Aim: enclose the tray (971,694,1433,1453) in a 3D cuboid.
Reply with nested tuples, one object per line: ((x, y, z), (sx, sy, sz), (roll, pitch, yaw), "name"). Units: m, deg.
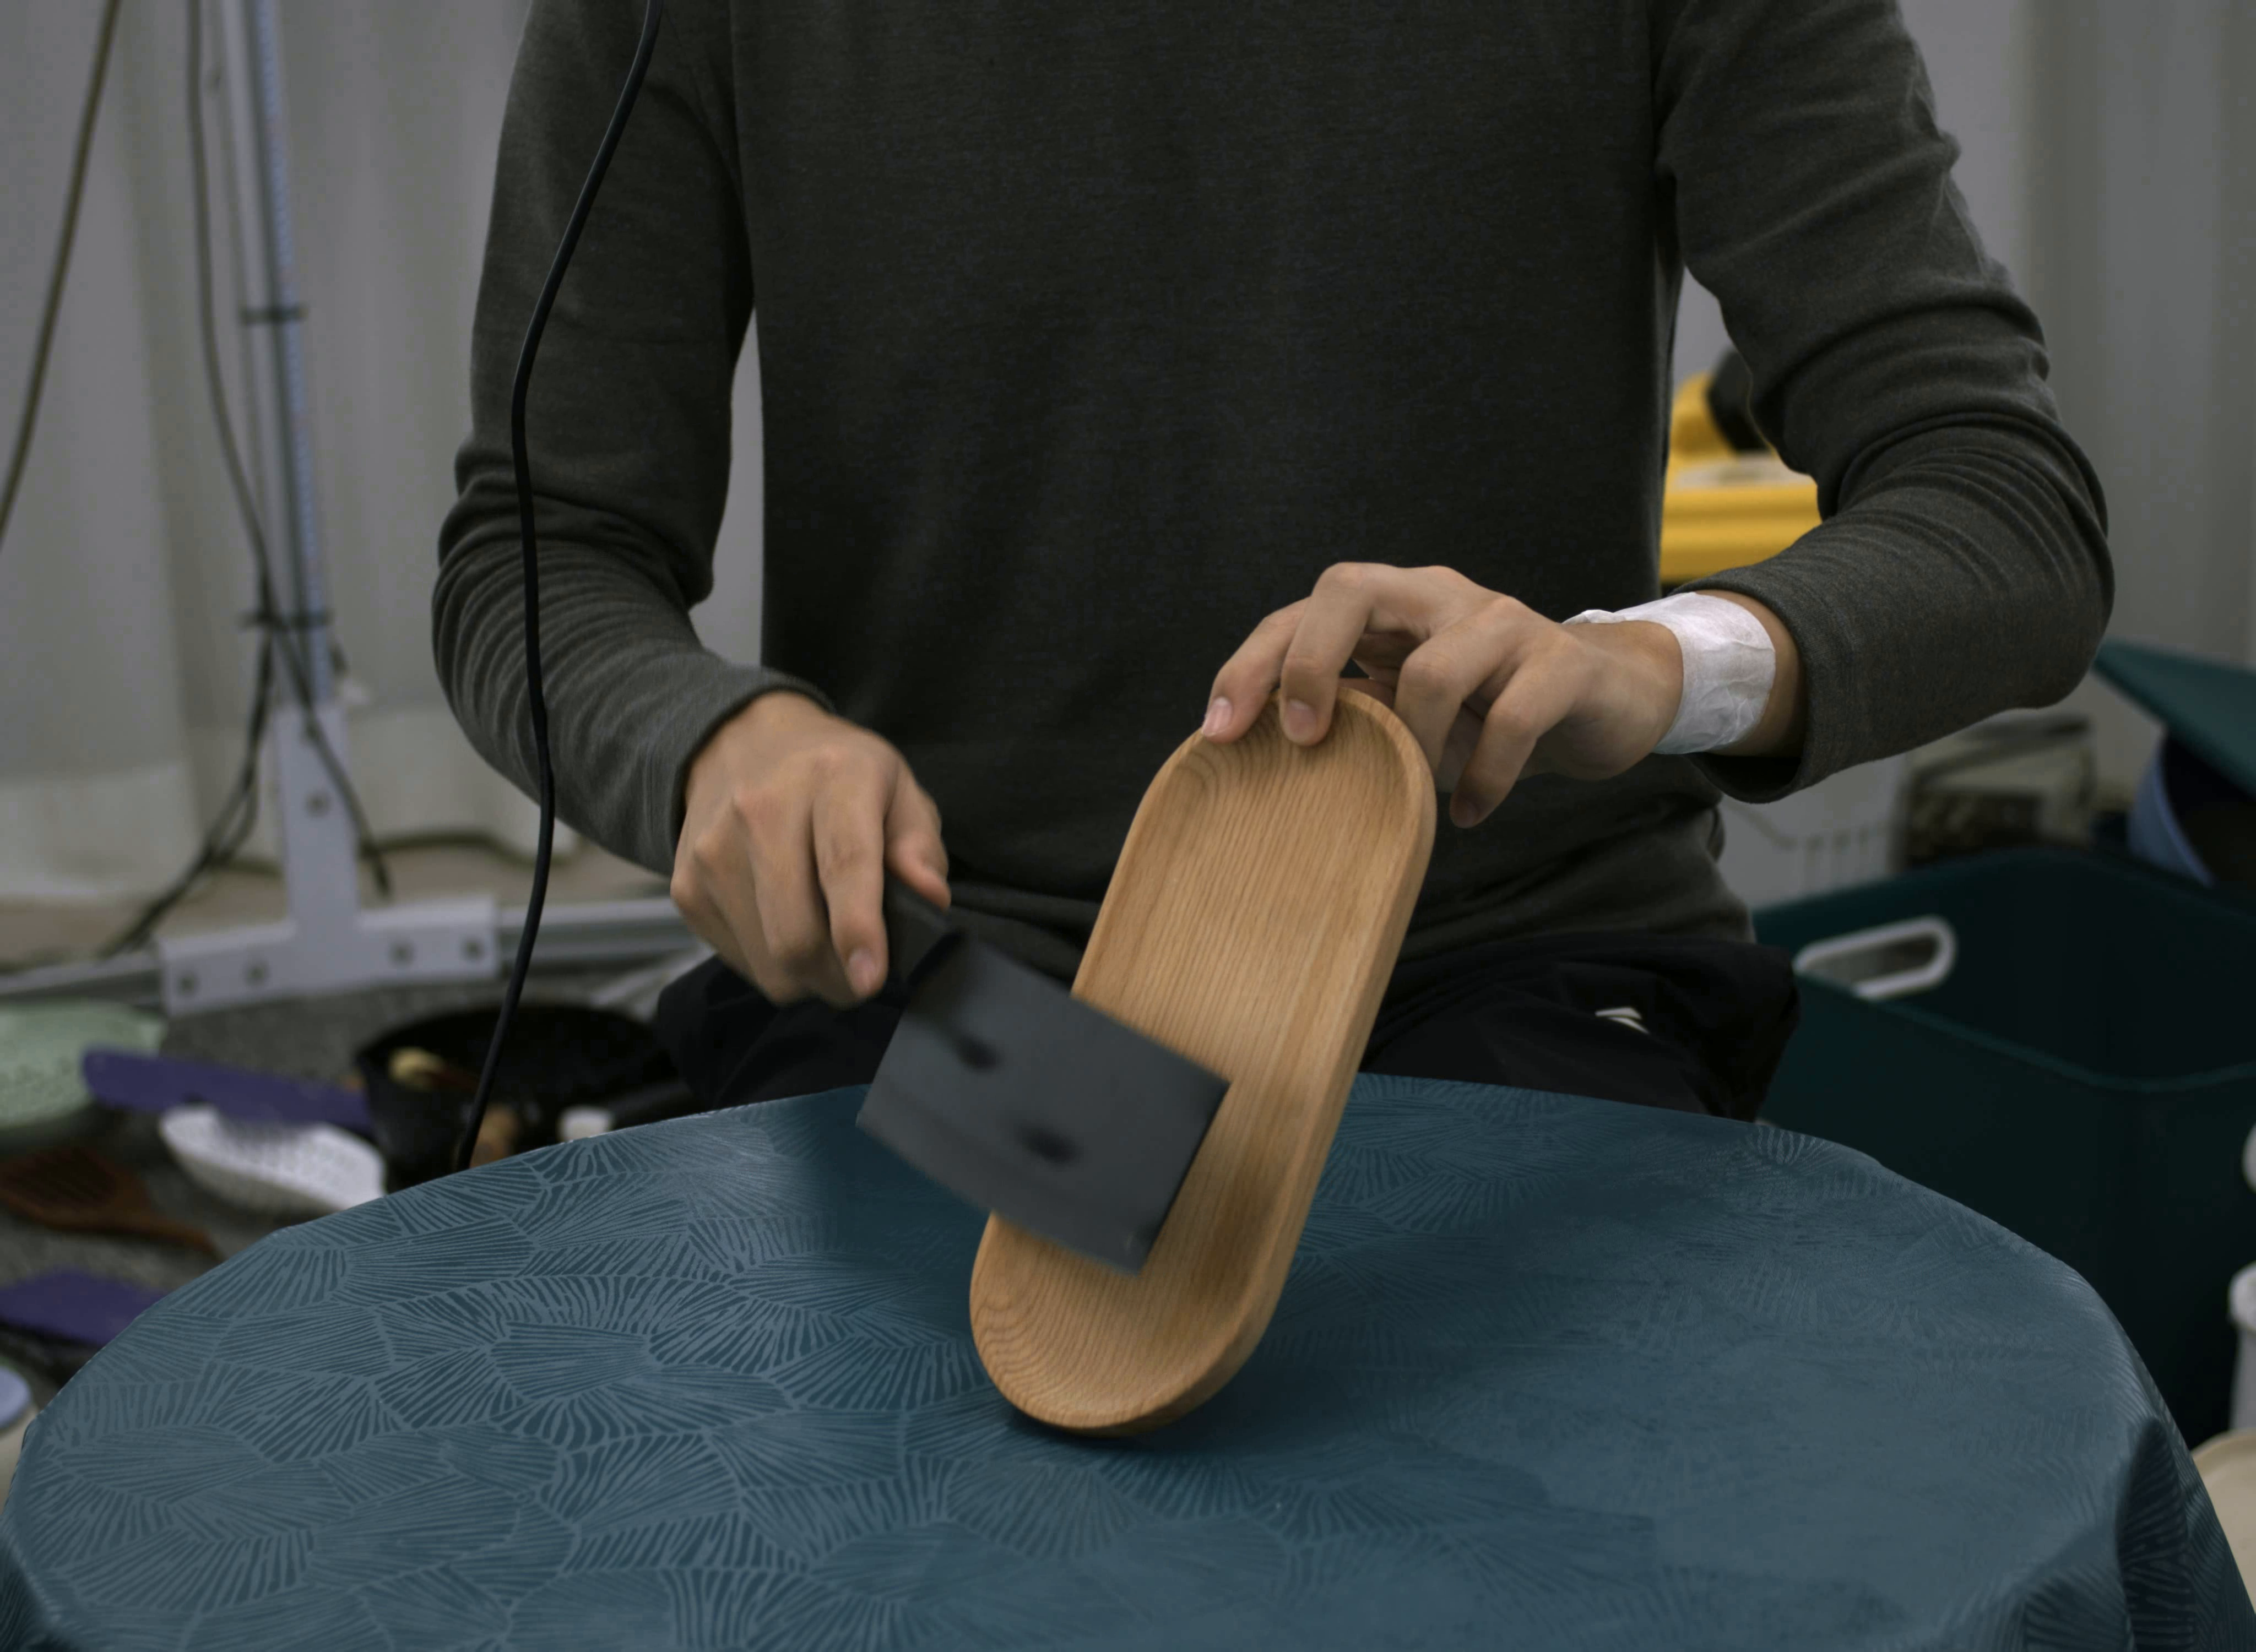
((0.022, 0.068, 1.546), (0.102, 0.233, 0.020), (3, -24, 39), "tray")

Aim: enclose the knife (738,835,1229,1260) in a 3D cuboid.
((-0.051, 0.058, 1.612), (0.020, 0.081, 0.305), (27, 3, -30), "knife")
